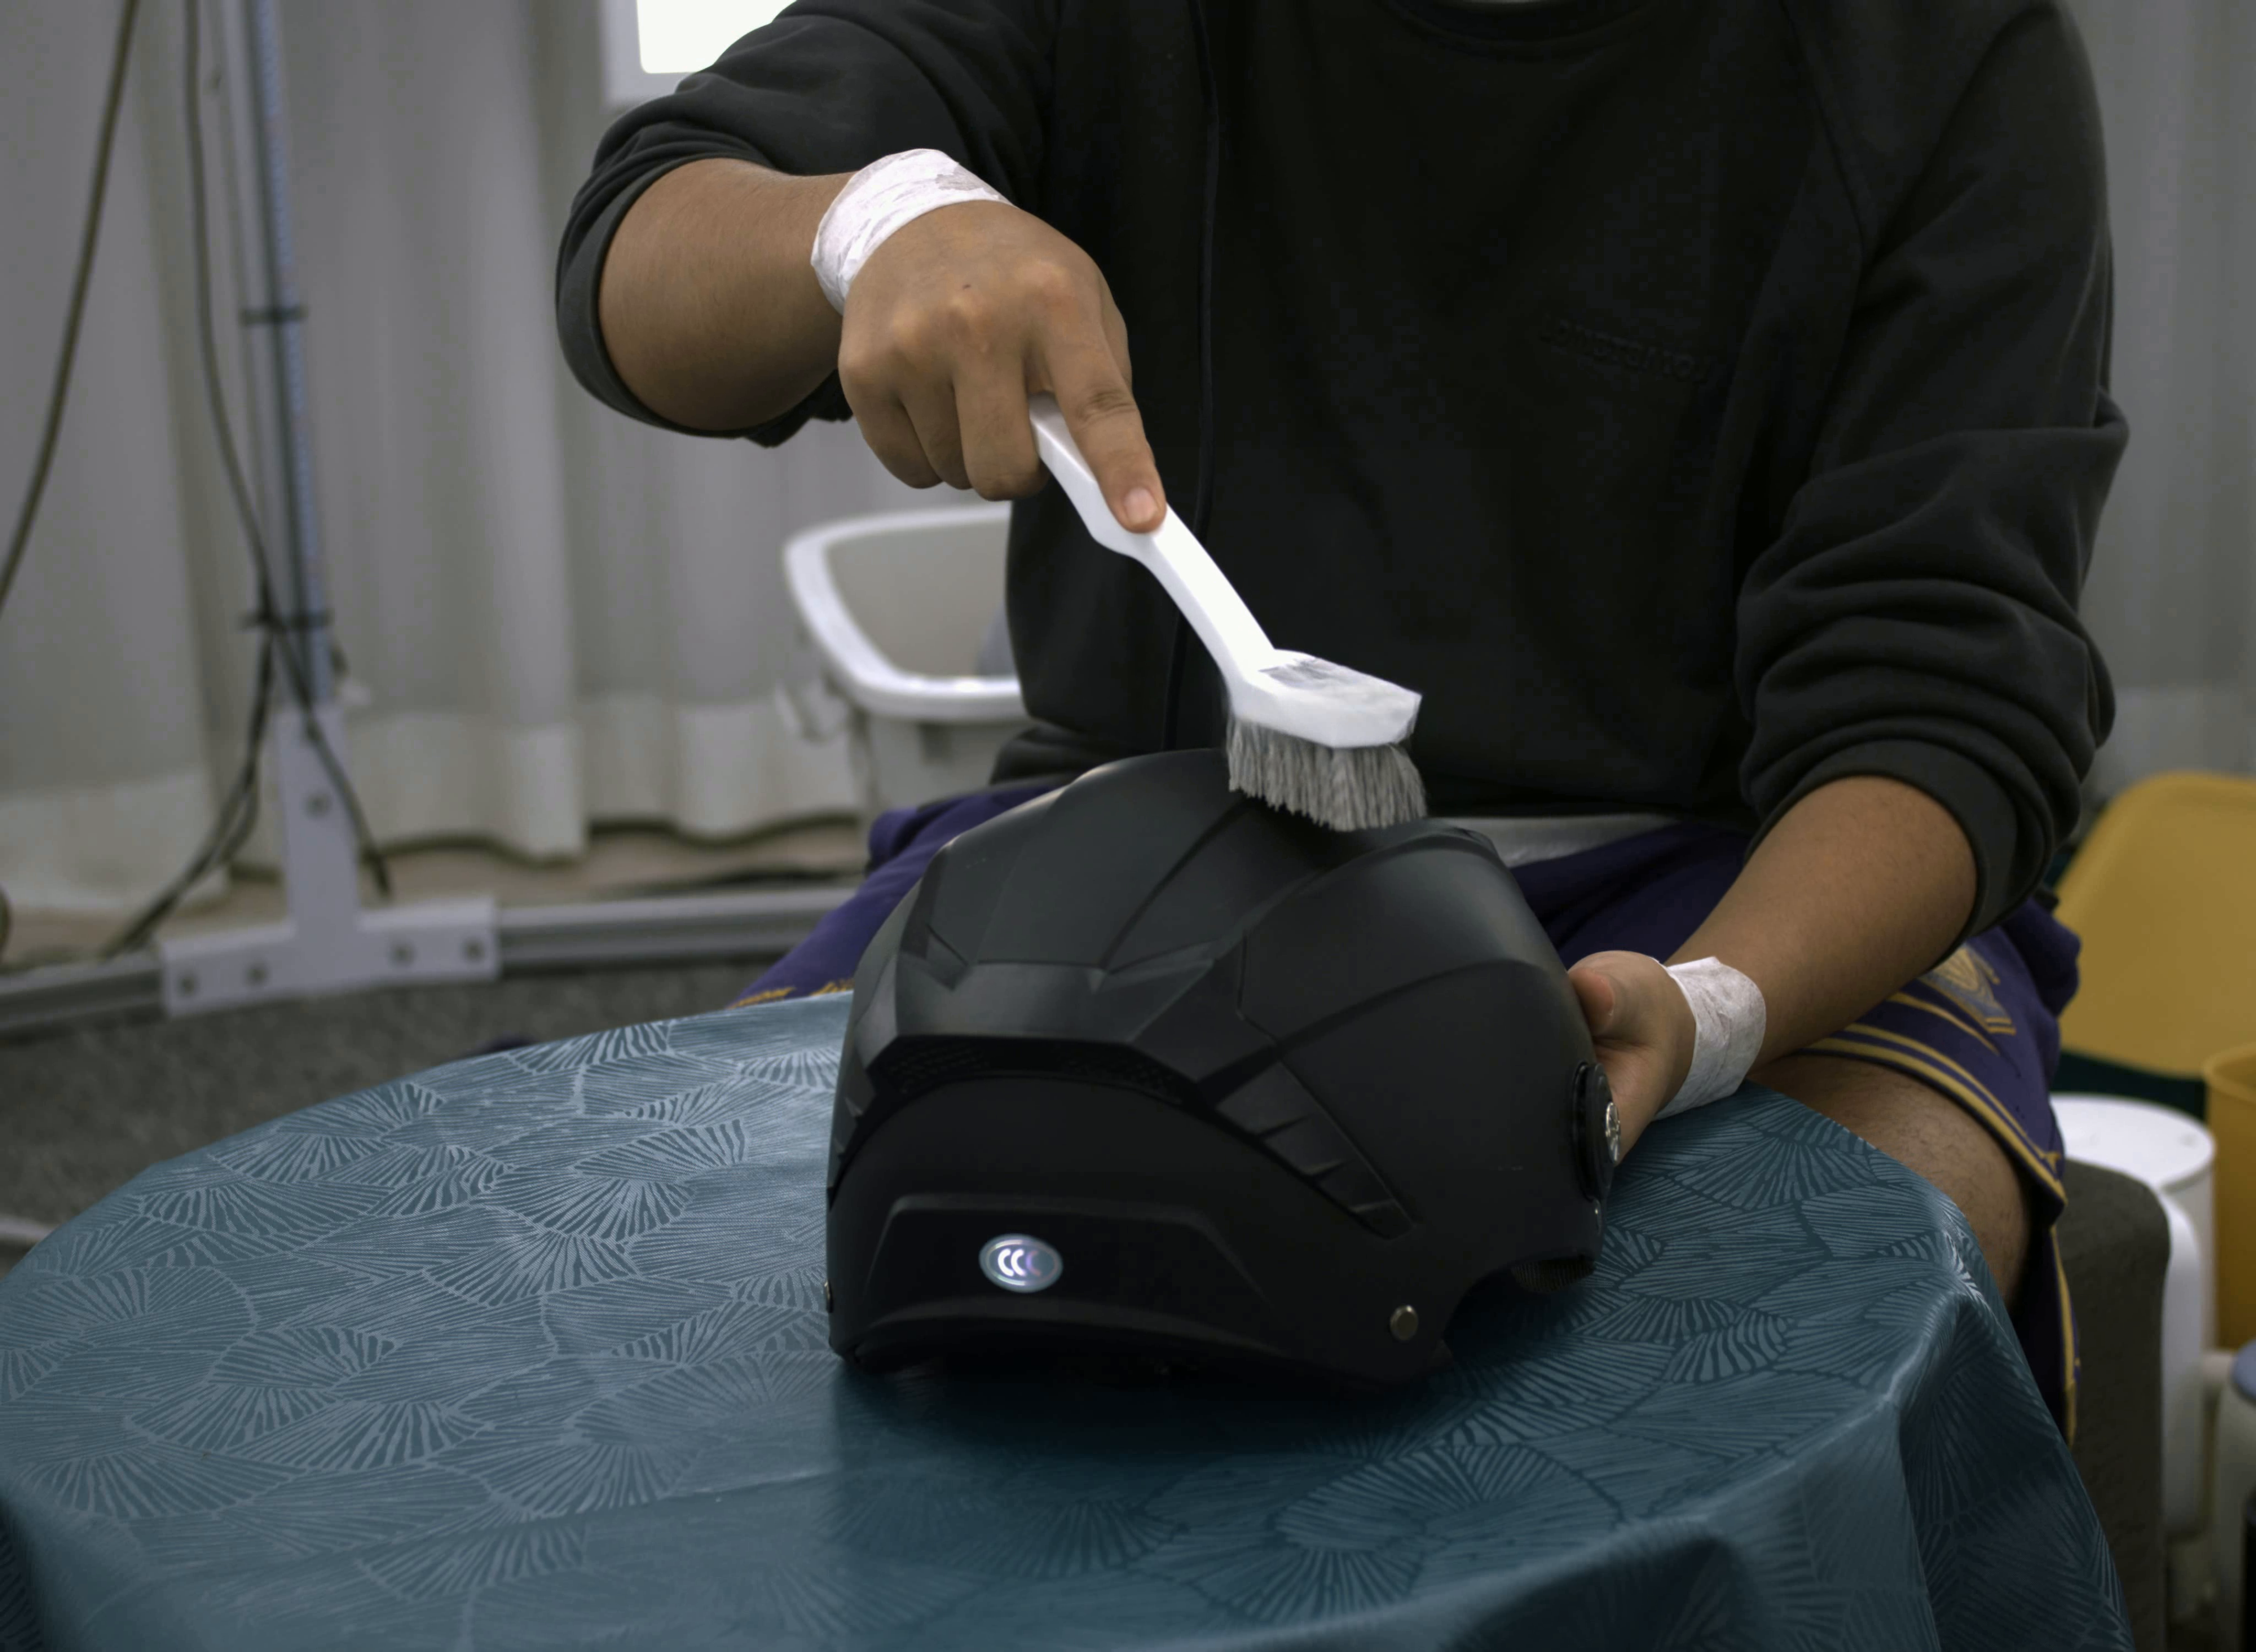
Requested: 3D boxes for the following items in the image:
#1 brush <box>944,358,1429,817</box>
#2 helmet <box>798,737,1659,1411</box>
[{"bbox_3d":[0.011,-0.068,1.599,0.034,0.050,0.246,-10,33,-32],"label":"brush"},{"bbox_3d":[0.026,0.060,1.594,0.247,0.171,0.278,1,19,25],"label":"helmet"}]
